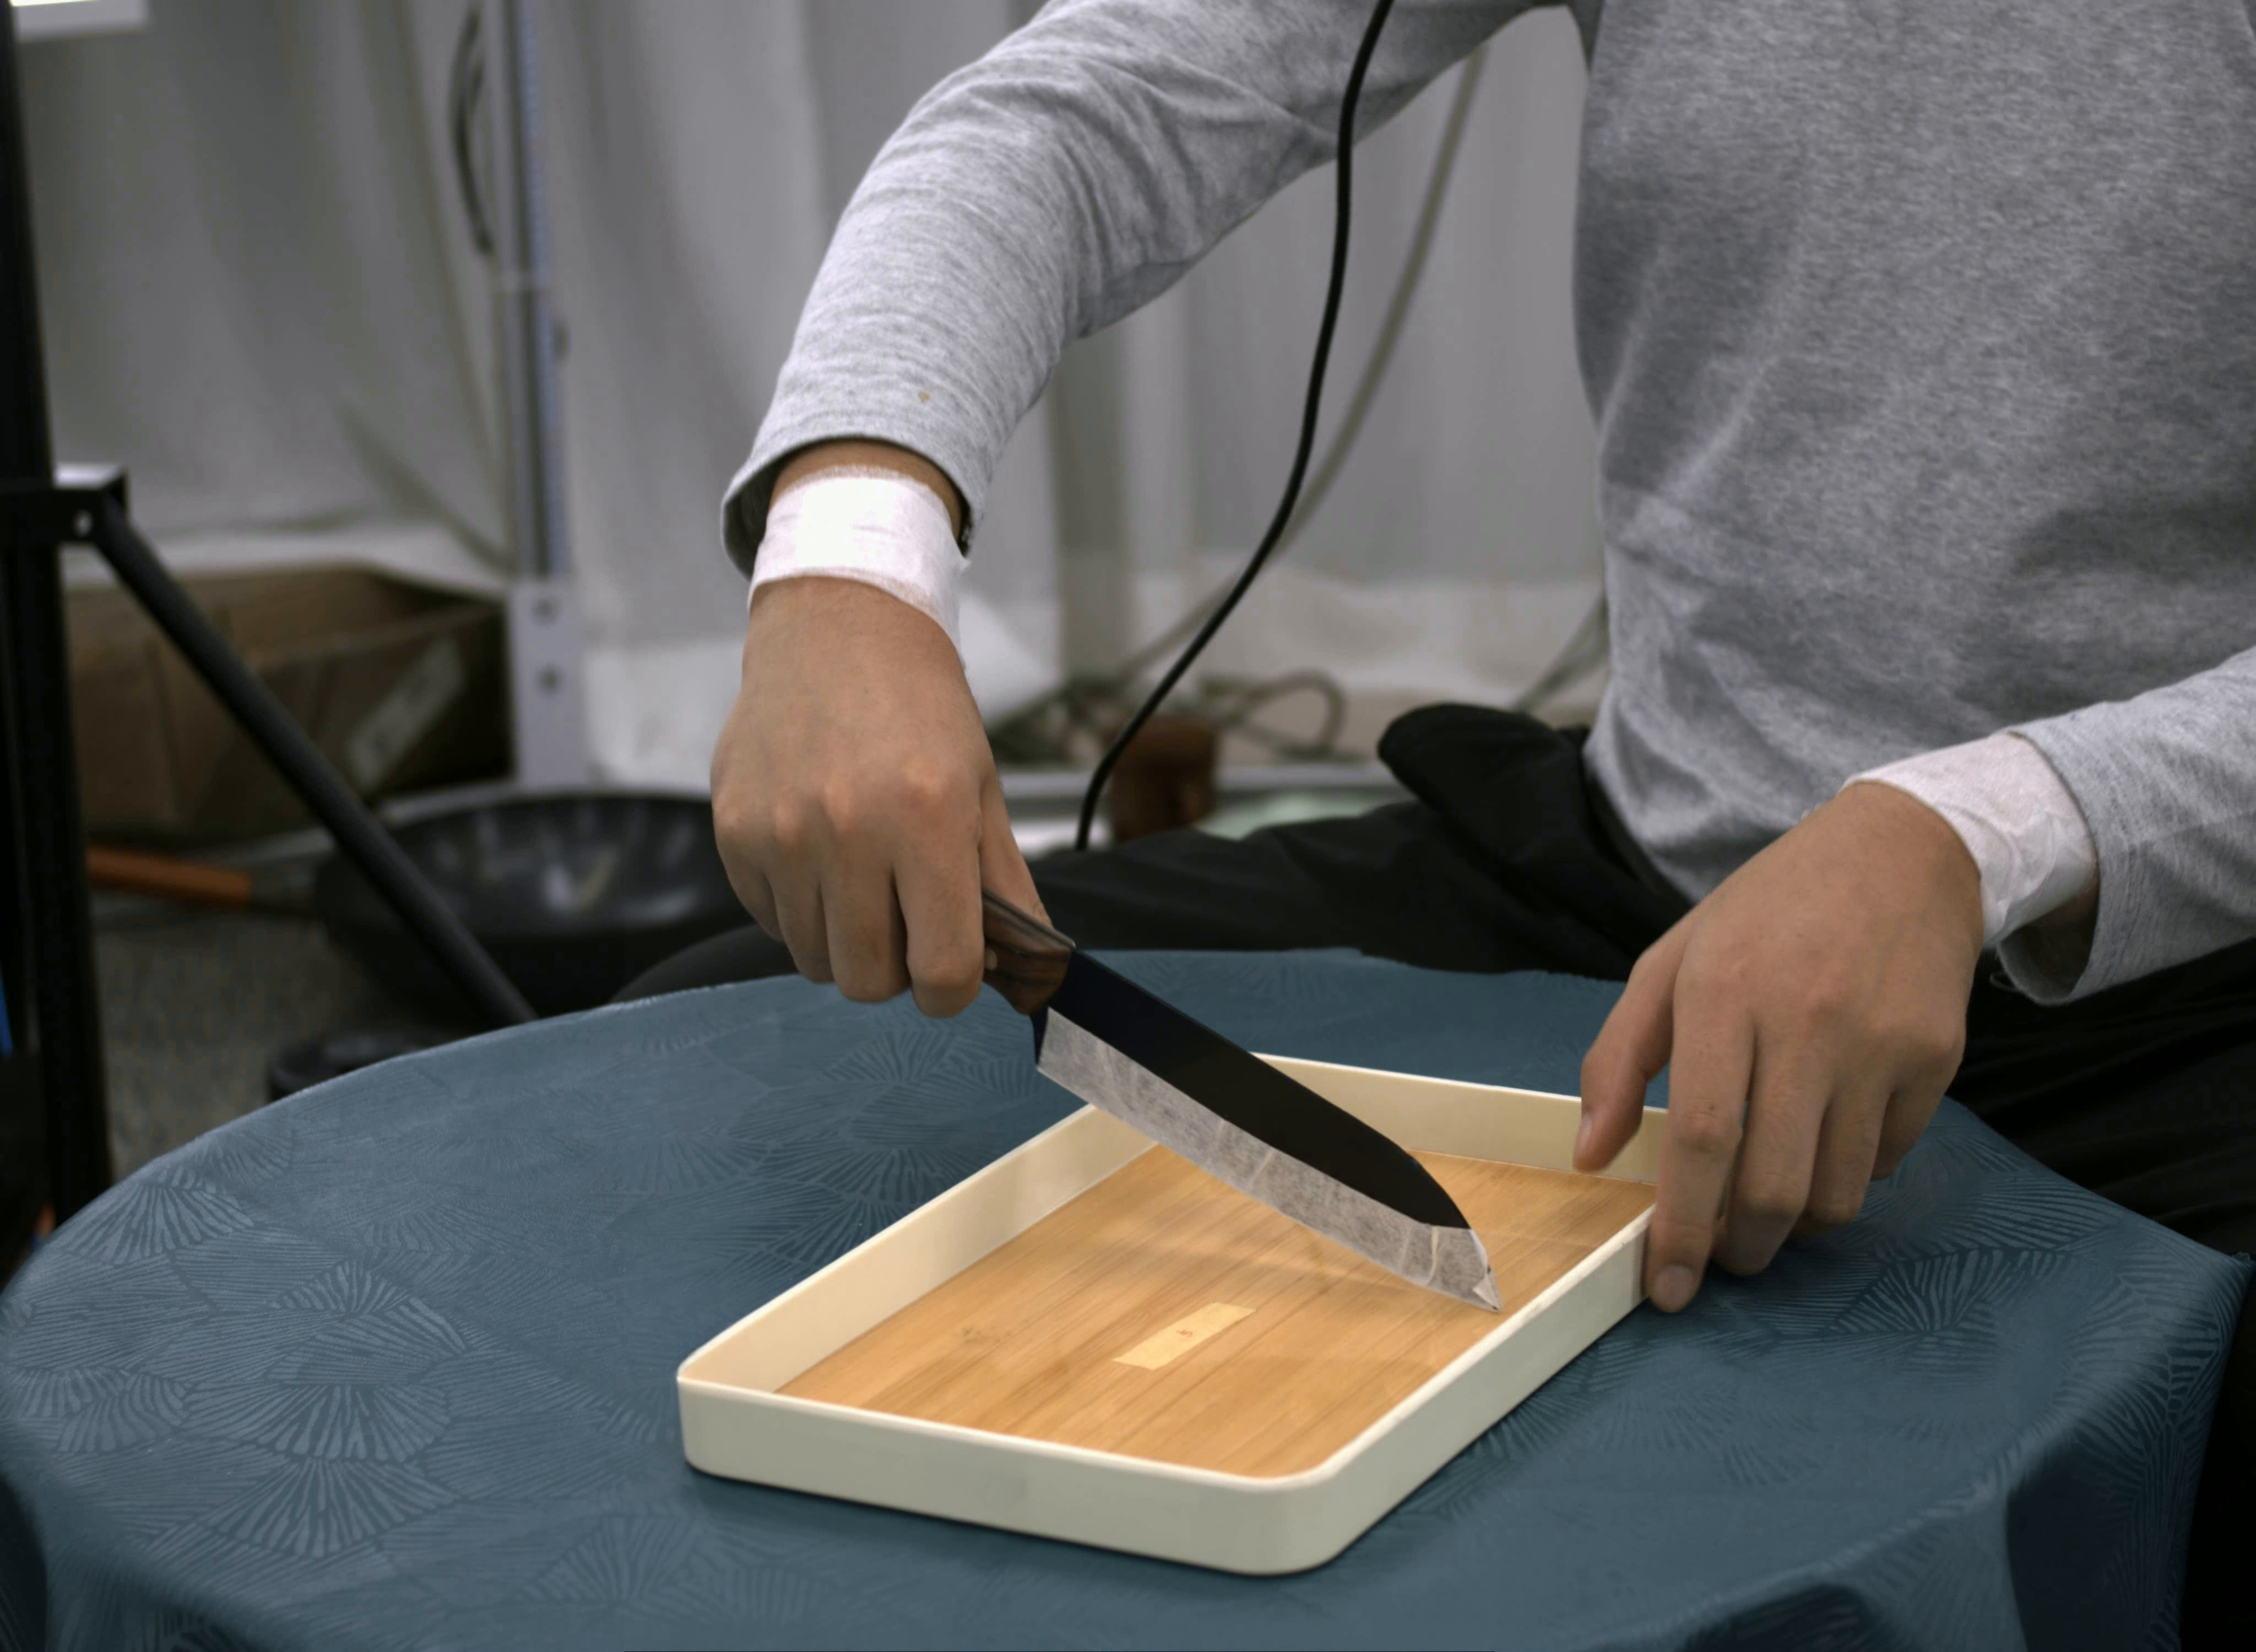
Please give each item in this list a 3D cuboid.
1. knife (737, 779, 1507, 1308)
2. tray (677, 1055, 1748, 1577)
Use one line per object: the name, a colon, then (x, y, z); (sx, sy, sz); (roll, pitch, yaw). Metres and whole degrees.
knife: (-0.004, 0.060, 1.508); (0.295, 0.050, 0.019); (32, 37, 30)
tray: (0.031, 0.126, 1.444); (0.195, 0.027, 0.295); (7, 18, 29)
